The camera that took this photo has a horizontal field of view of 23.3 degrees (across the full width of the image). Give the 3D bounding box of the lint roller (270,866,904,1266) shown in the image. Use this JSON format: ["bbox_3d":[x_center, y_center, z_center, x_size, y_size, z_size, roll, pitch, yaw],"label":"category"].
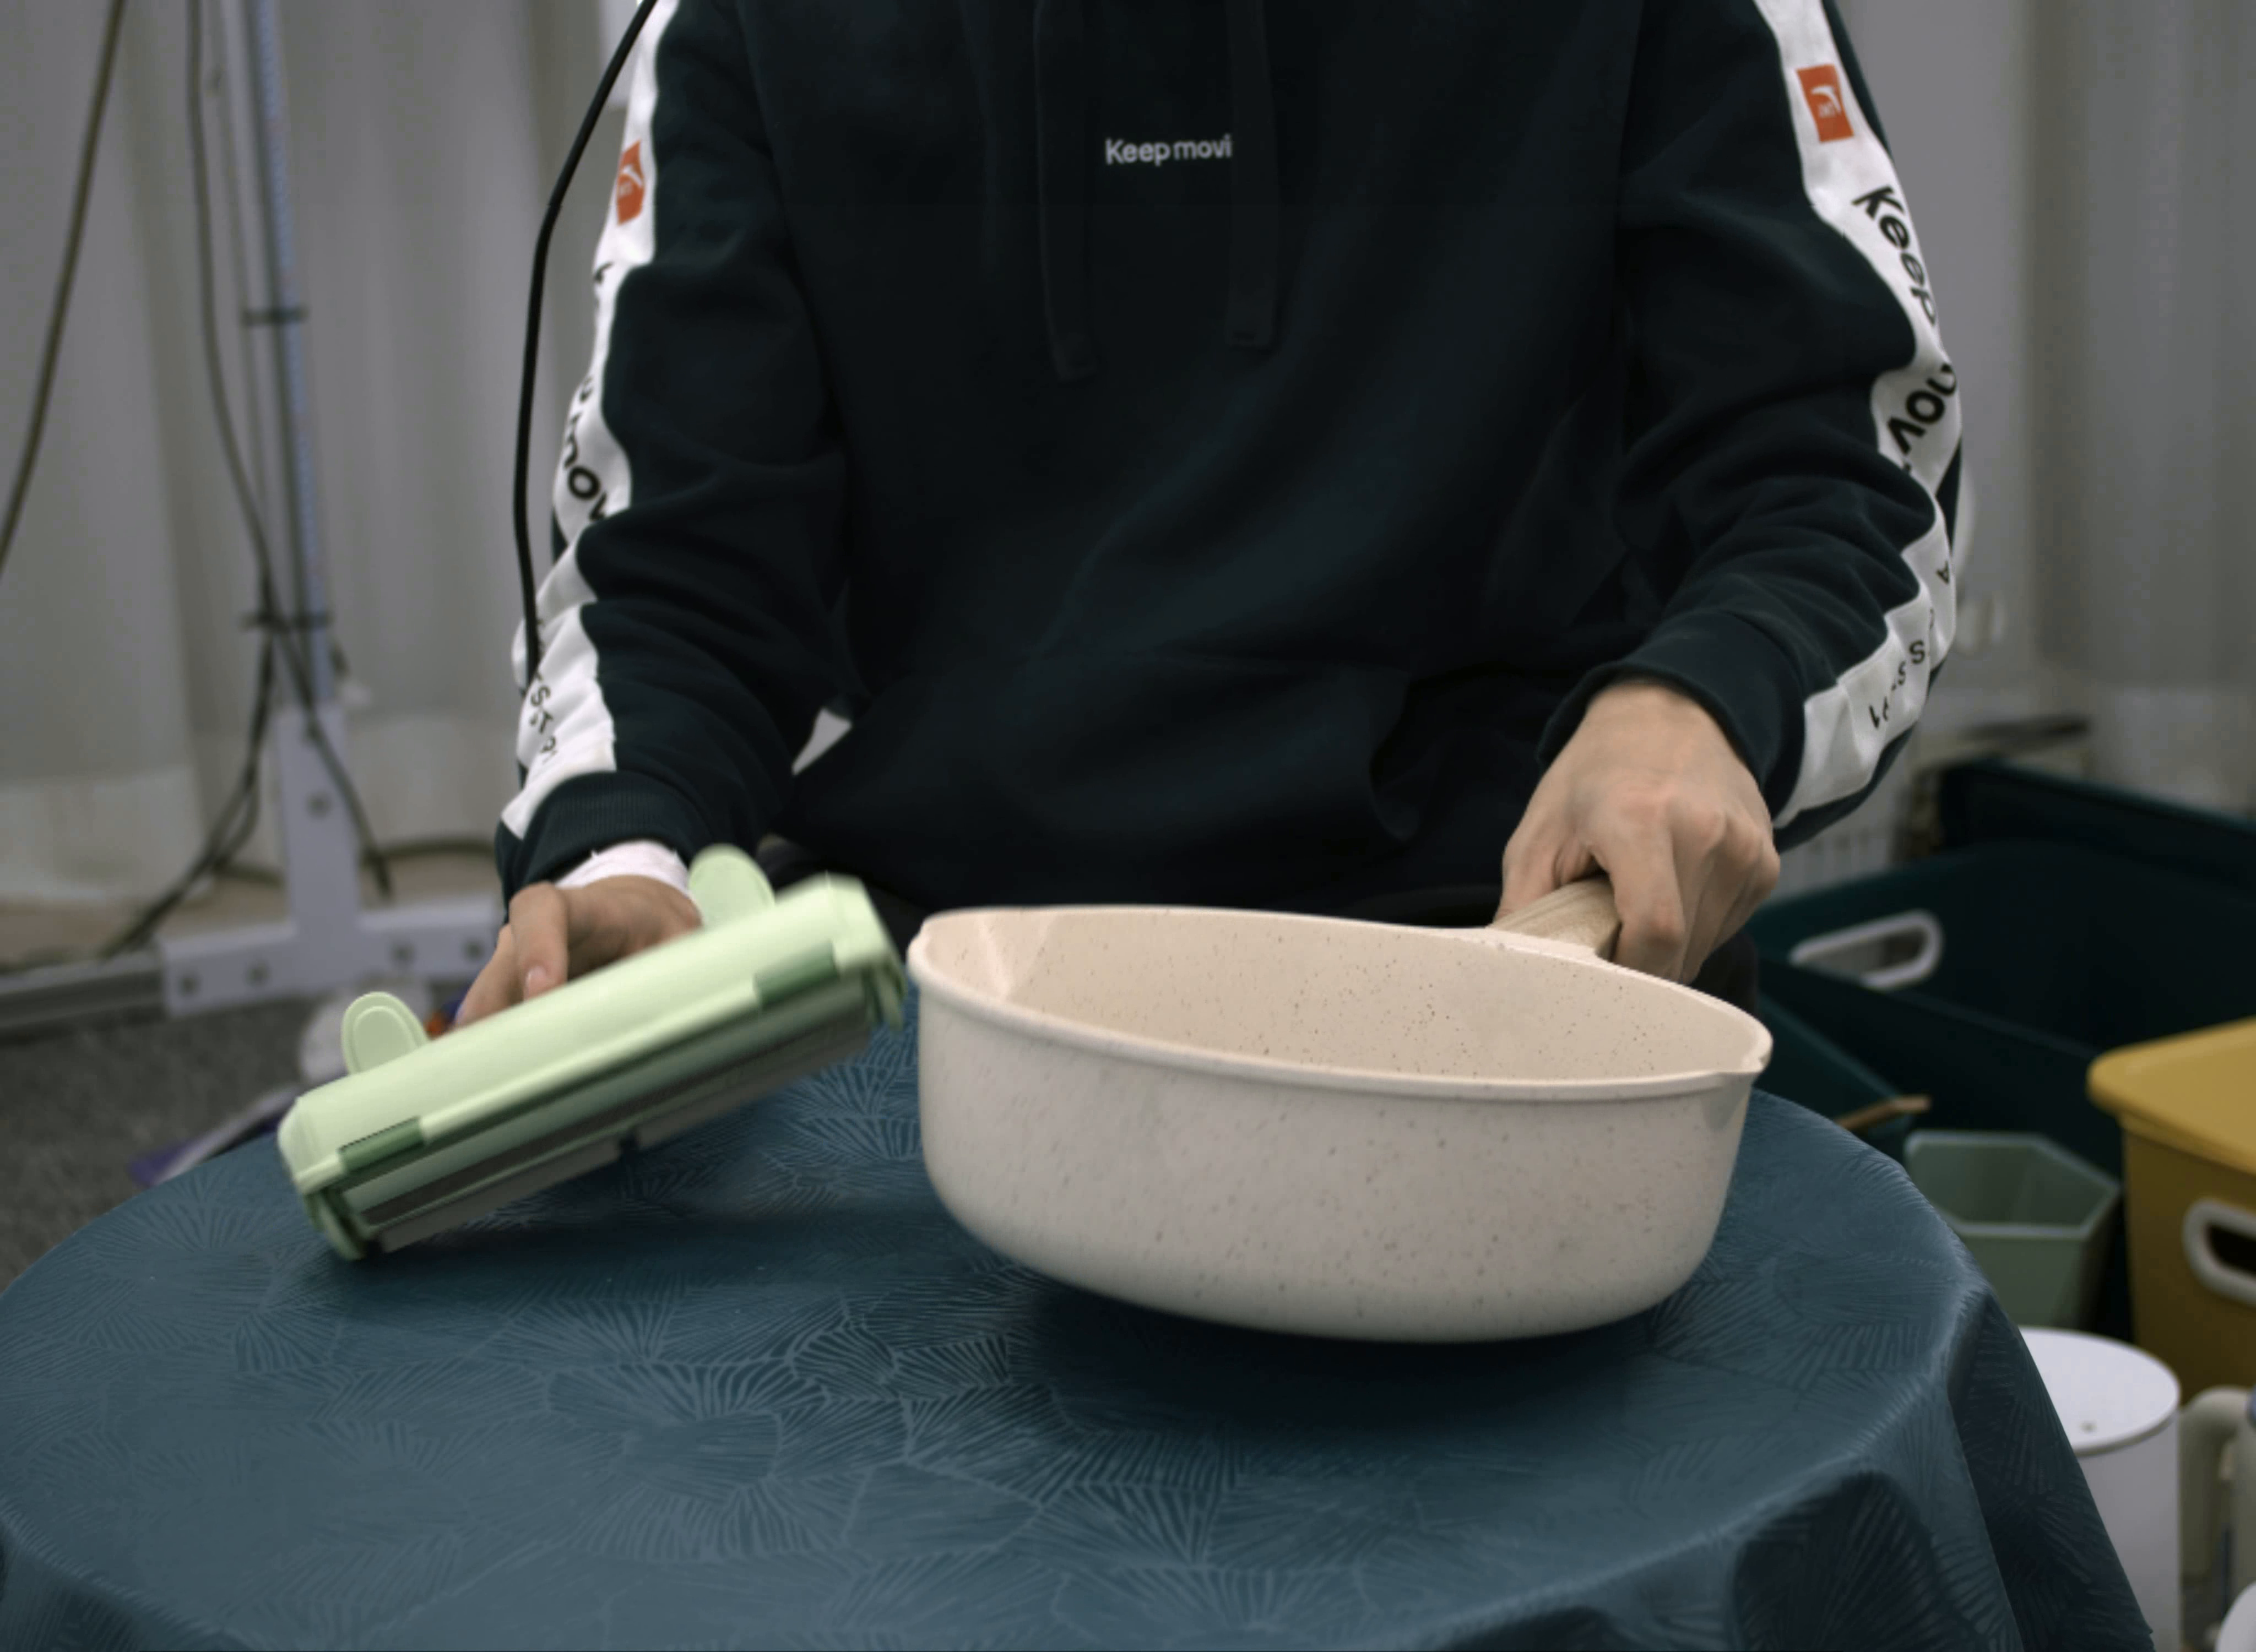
[{"bbox_3d":[-0.177,0.061,1.744,0.198,0.082,0.184,-20,15,-4],"label":"lint roller"}]

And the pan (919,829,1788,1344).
[{"bbox_3d":[0.104,0.073,1.662,0.264,0.102,0.434,7,9,27],"label":"pan"}]
